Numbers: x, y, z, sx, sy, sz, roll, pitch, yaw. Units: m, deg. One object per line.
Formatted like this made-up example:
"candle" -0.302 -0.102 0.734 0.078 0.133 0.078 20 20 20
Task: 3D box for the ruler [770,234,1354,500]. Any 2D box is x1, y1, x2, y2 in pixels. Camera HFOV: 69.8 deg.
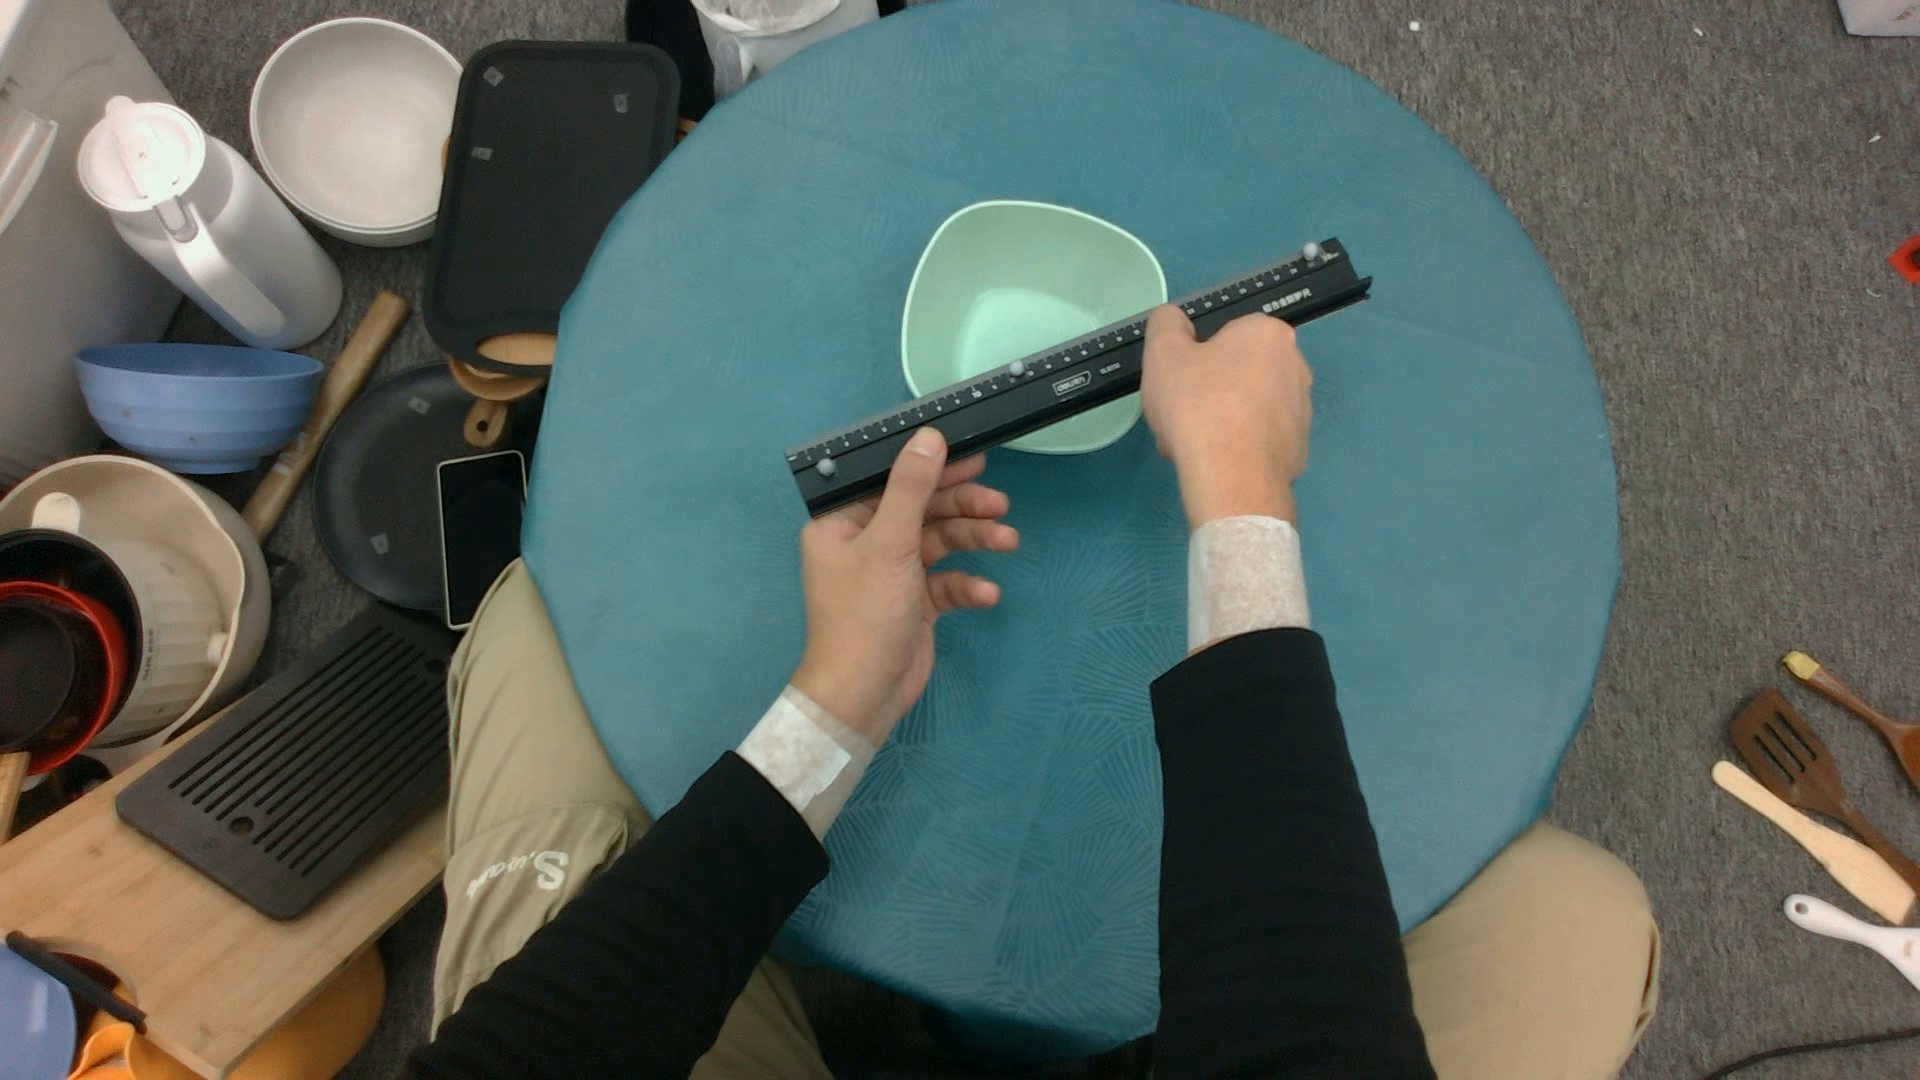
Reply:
"ruler" 0.057 -0.093 0.693 0.313 0.017 0.039 -21 77 -10

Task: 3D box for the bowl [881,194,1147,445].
"bowl" 0.027 -0.111 0.749 0.151 0.058 0.152 2 74 -5
